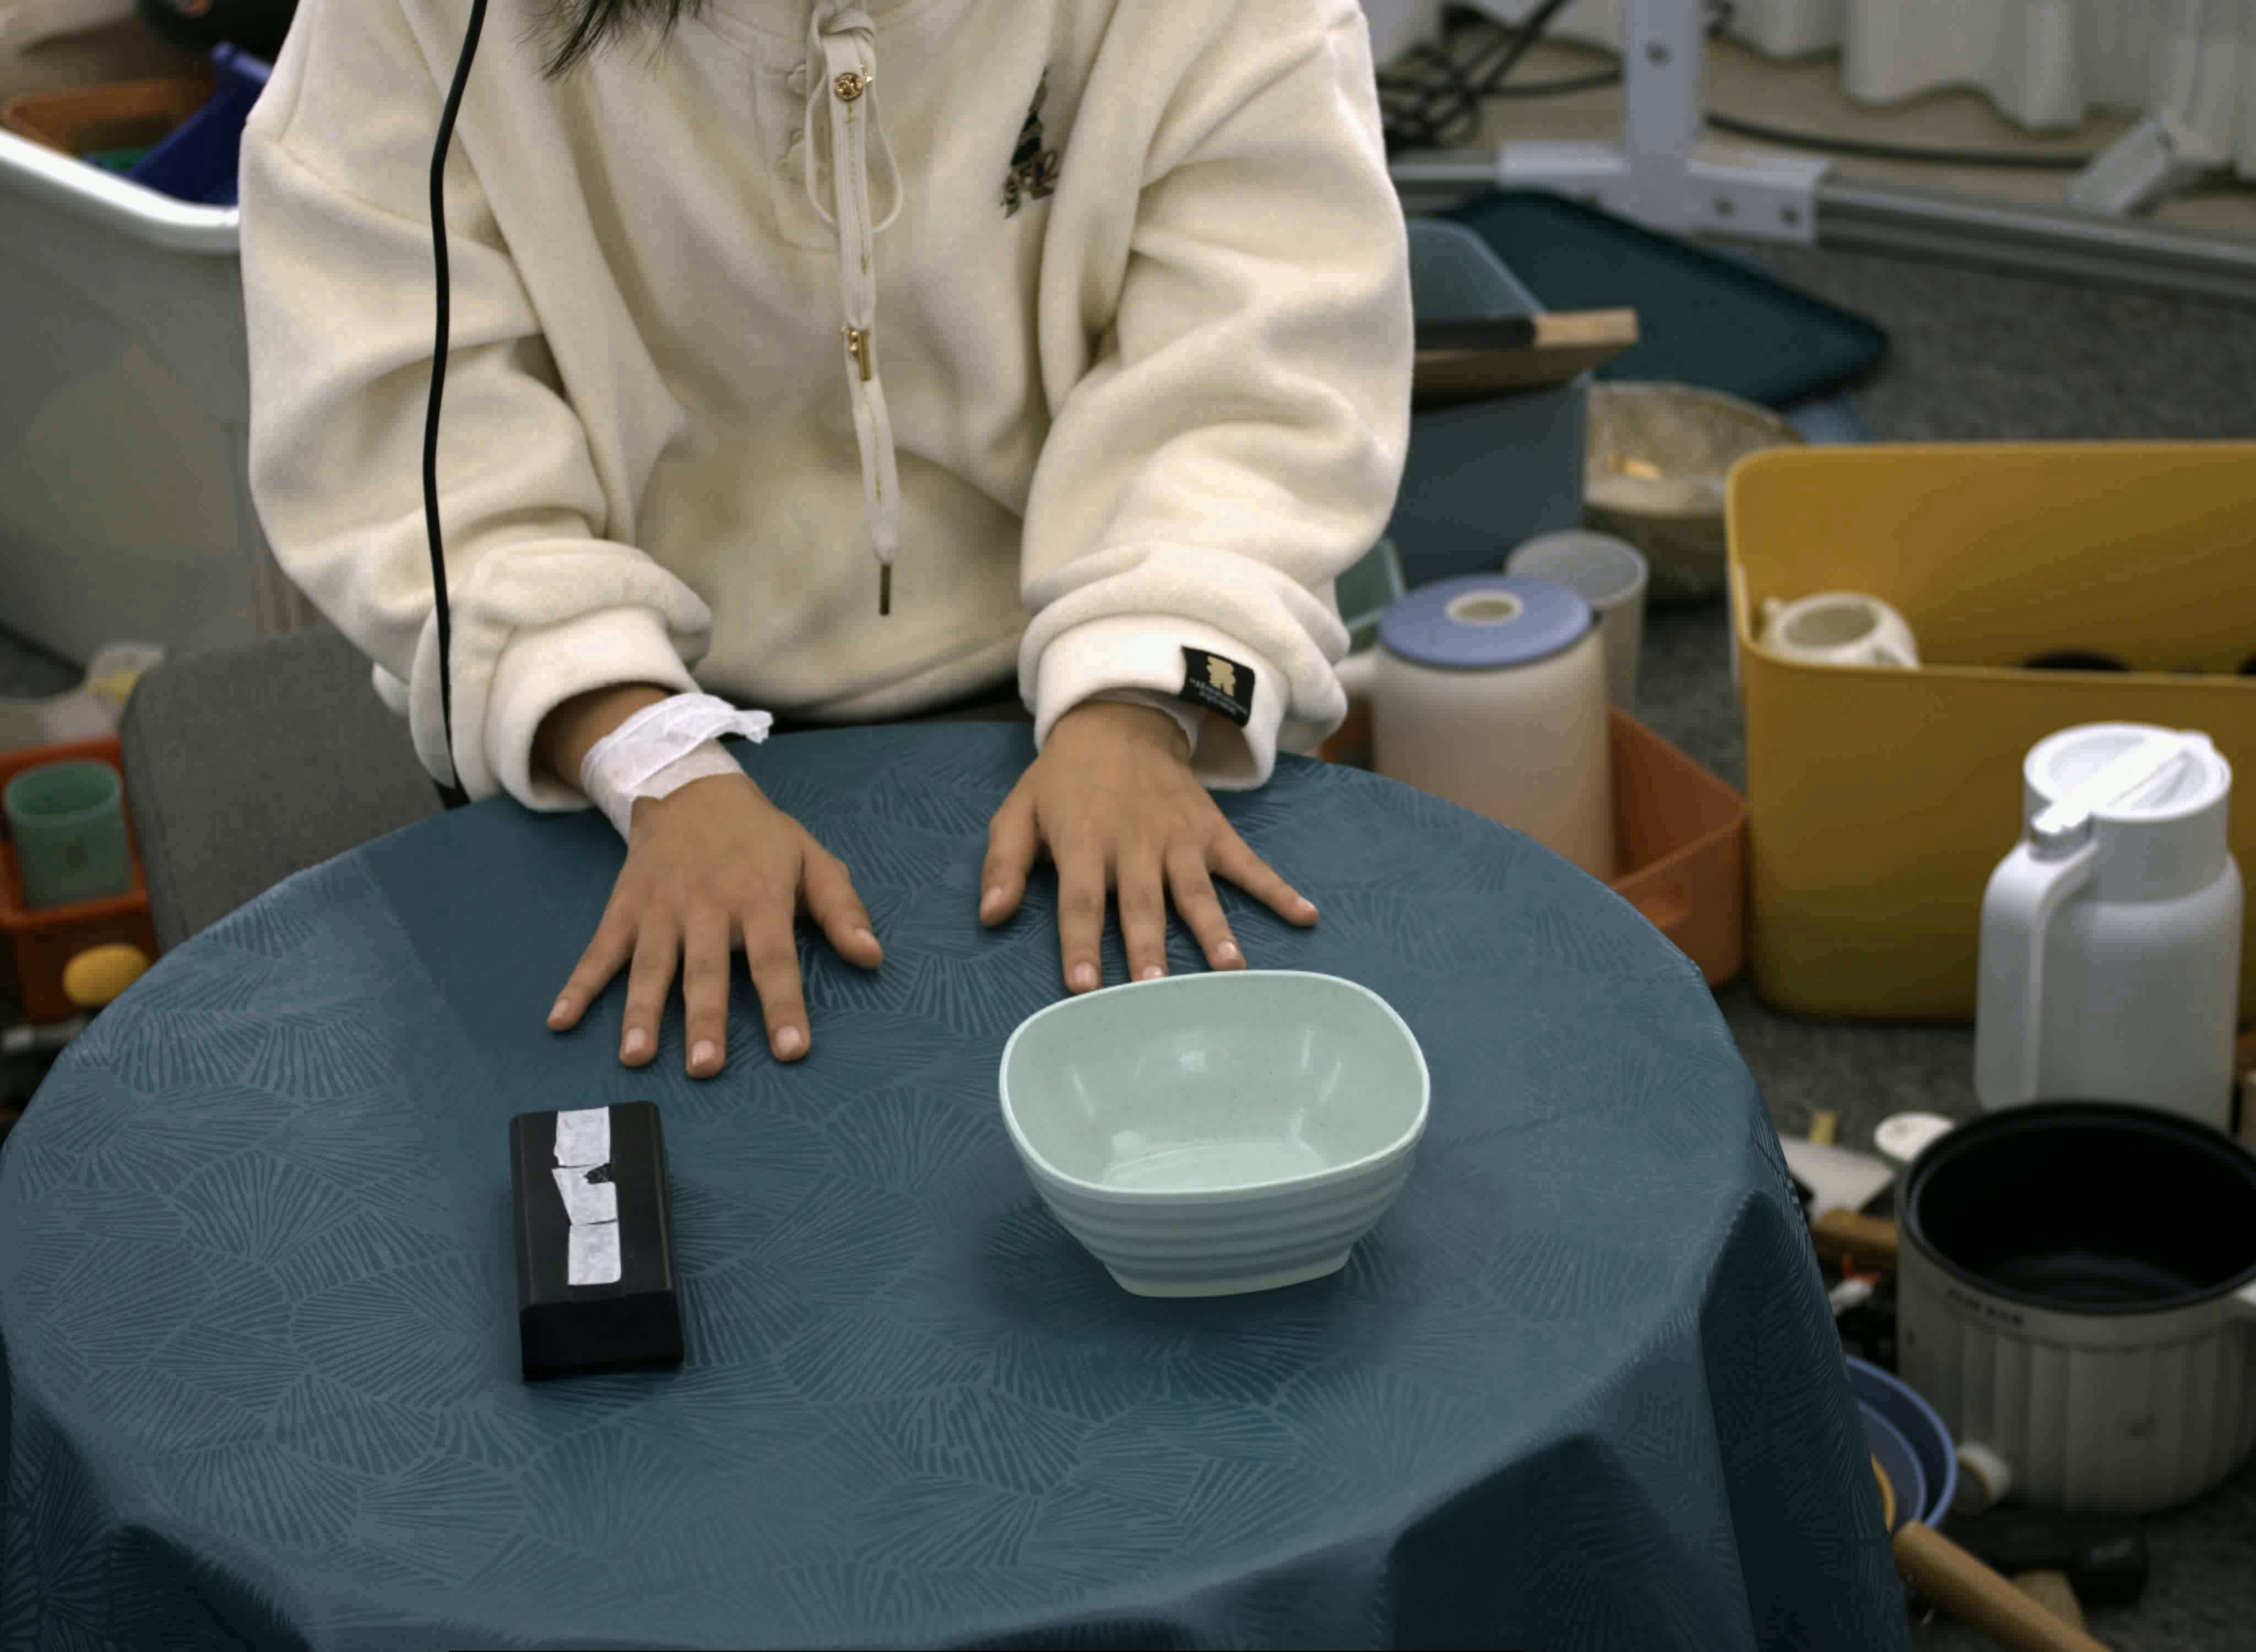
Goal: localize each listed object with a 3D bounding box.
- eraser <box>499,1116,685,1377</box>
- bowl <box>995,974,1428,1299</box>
[{"bbox_3d":[-0.174,0.136,1.822,0.053,0.030,0.127,-5,25,-7],"label":"eraser"},{"bbox_3d":[0.027,0.107,1.827,0.151,0.058,0.154,0,27,0],"label":"bowl"}]
